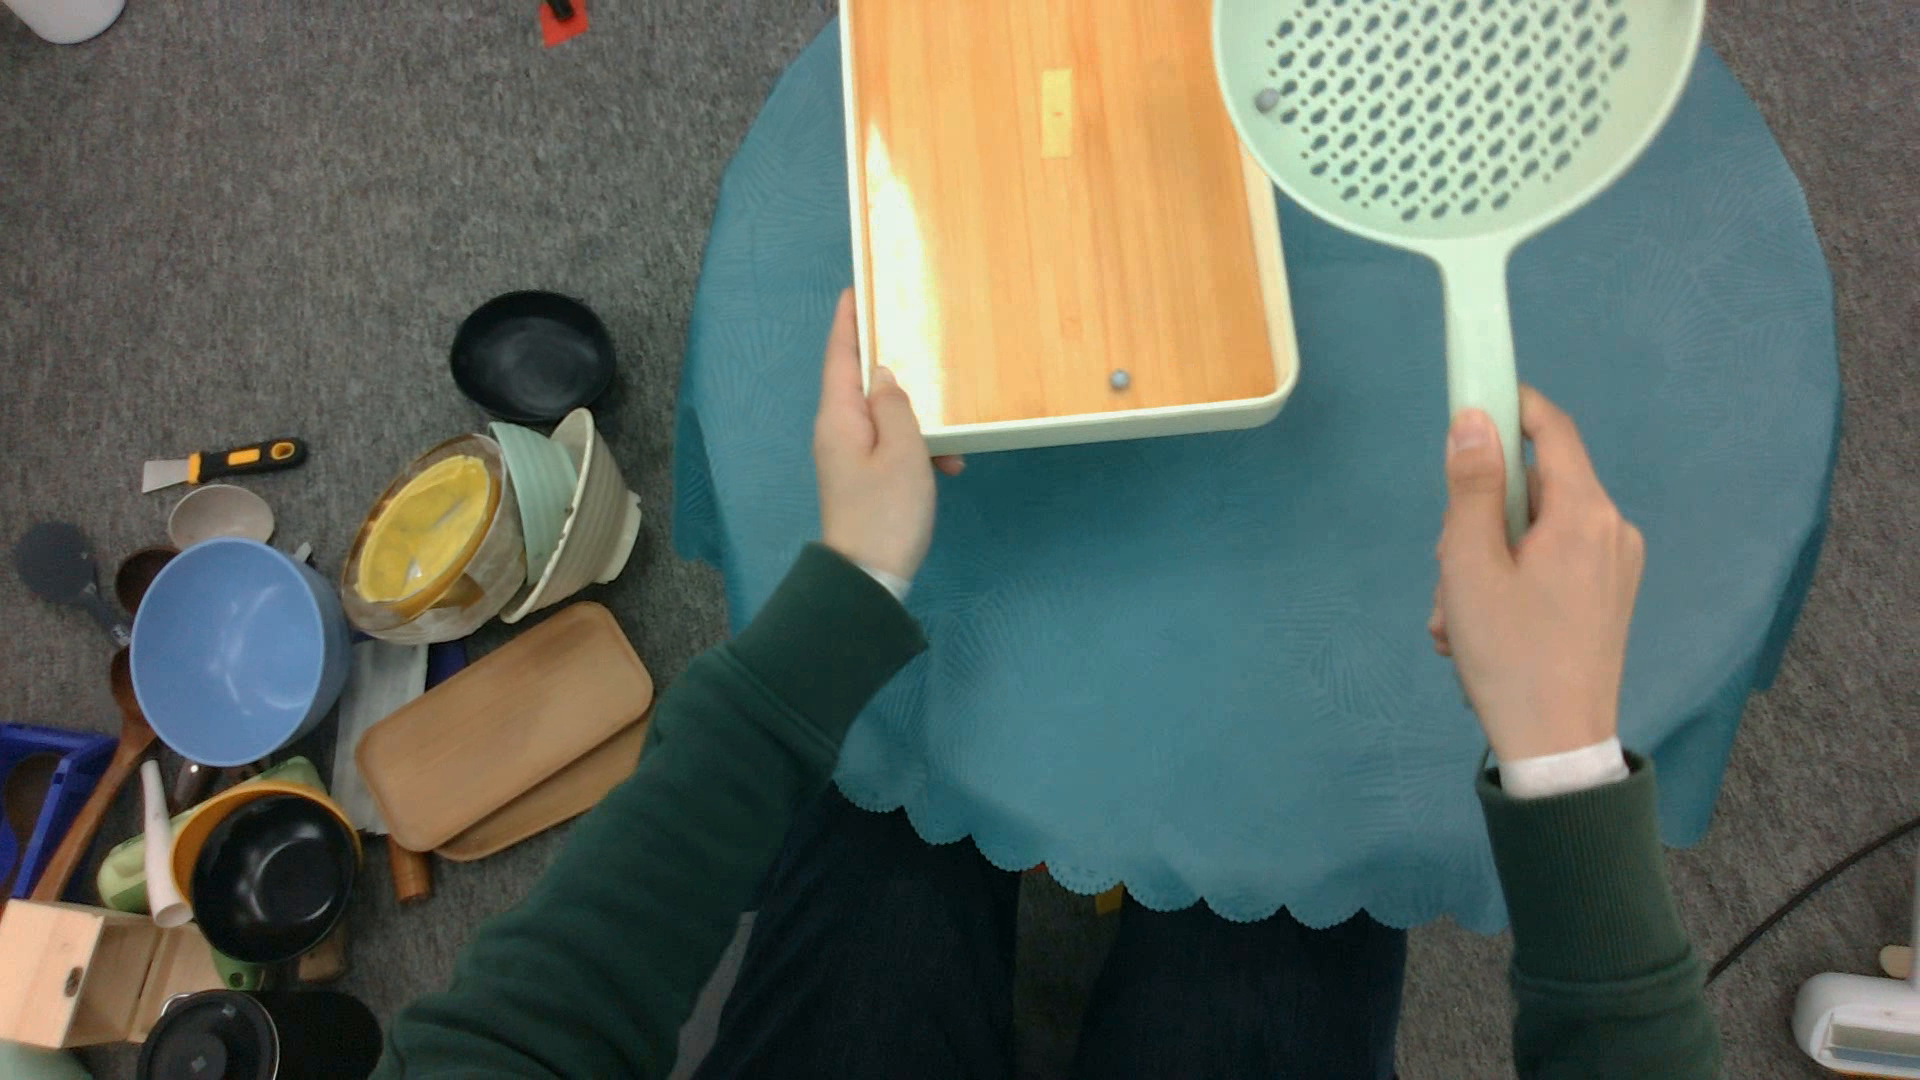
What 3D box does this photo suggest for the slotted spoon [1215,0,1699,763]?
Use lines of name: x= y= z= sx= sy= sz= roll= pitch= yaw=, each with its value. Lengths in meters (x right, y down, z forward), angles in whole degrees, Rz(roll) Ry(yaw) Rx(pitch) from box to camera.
slotted spoon: x=0.188 y=-0.098 z=0.517 sx=0.169 sy=0.075 sz=0.359 roll=-3 pitch=81 yaw=17

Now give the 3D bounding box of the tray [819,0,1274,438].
tray: x=0.032 y=-0.195 z=0.654 sx=0.191 sy=0.027 sz=0.301 roll=-5 pitch=69 yaw=0
